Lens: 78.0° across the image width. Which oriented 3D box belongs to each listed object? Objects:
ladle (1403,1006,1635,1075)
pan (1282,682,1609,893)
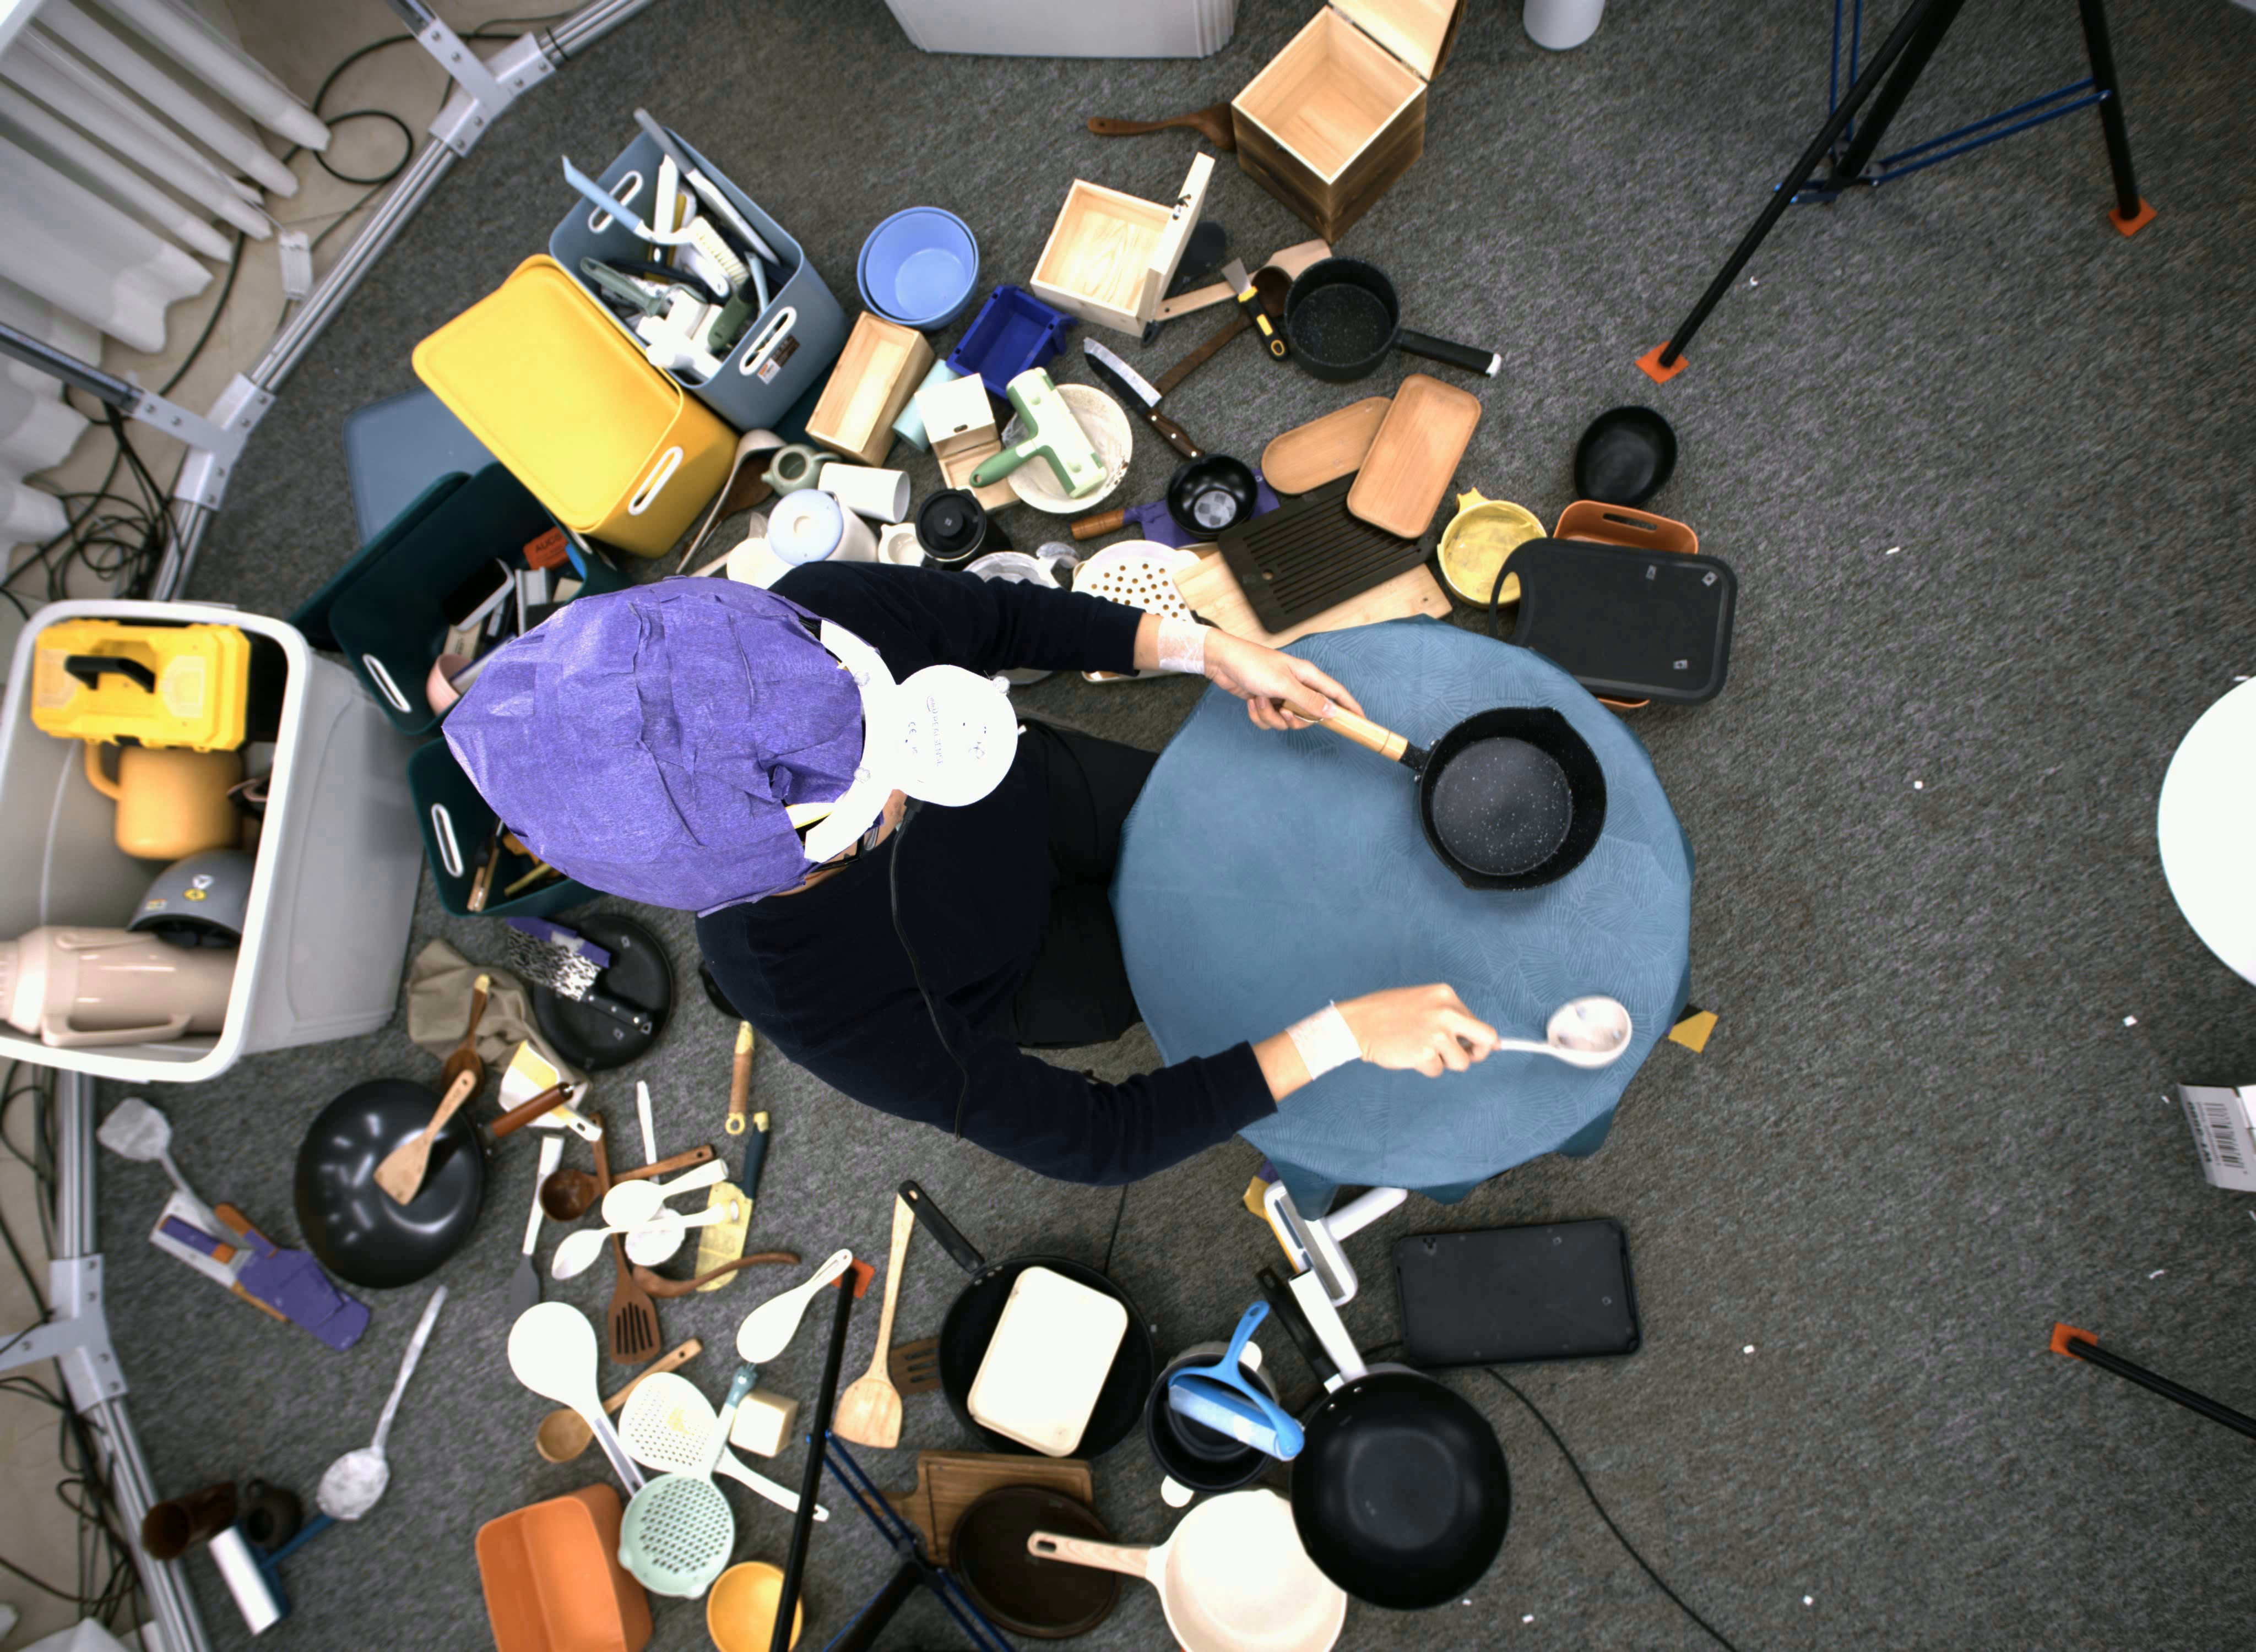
[{"bbox_3d":[0.376,0.195,1.324,0.274,0.088,0.070,10,103,-32],"label":"ladle"},{"bbox_3d":[0.313,-0.058,1.398,0.343,0.108,0.208,24,92,7],"label":"pan"}]
